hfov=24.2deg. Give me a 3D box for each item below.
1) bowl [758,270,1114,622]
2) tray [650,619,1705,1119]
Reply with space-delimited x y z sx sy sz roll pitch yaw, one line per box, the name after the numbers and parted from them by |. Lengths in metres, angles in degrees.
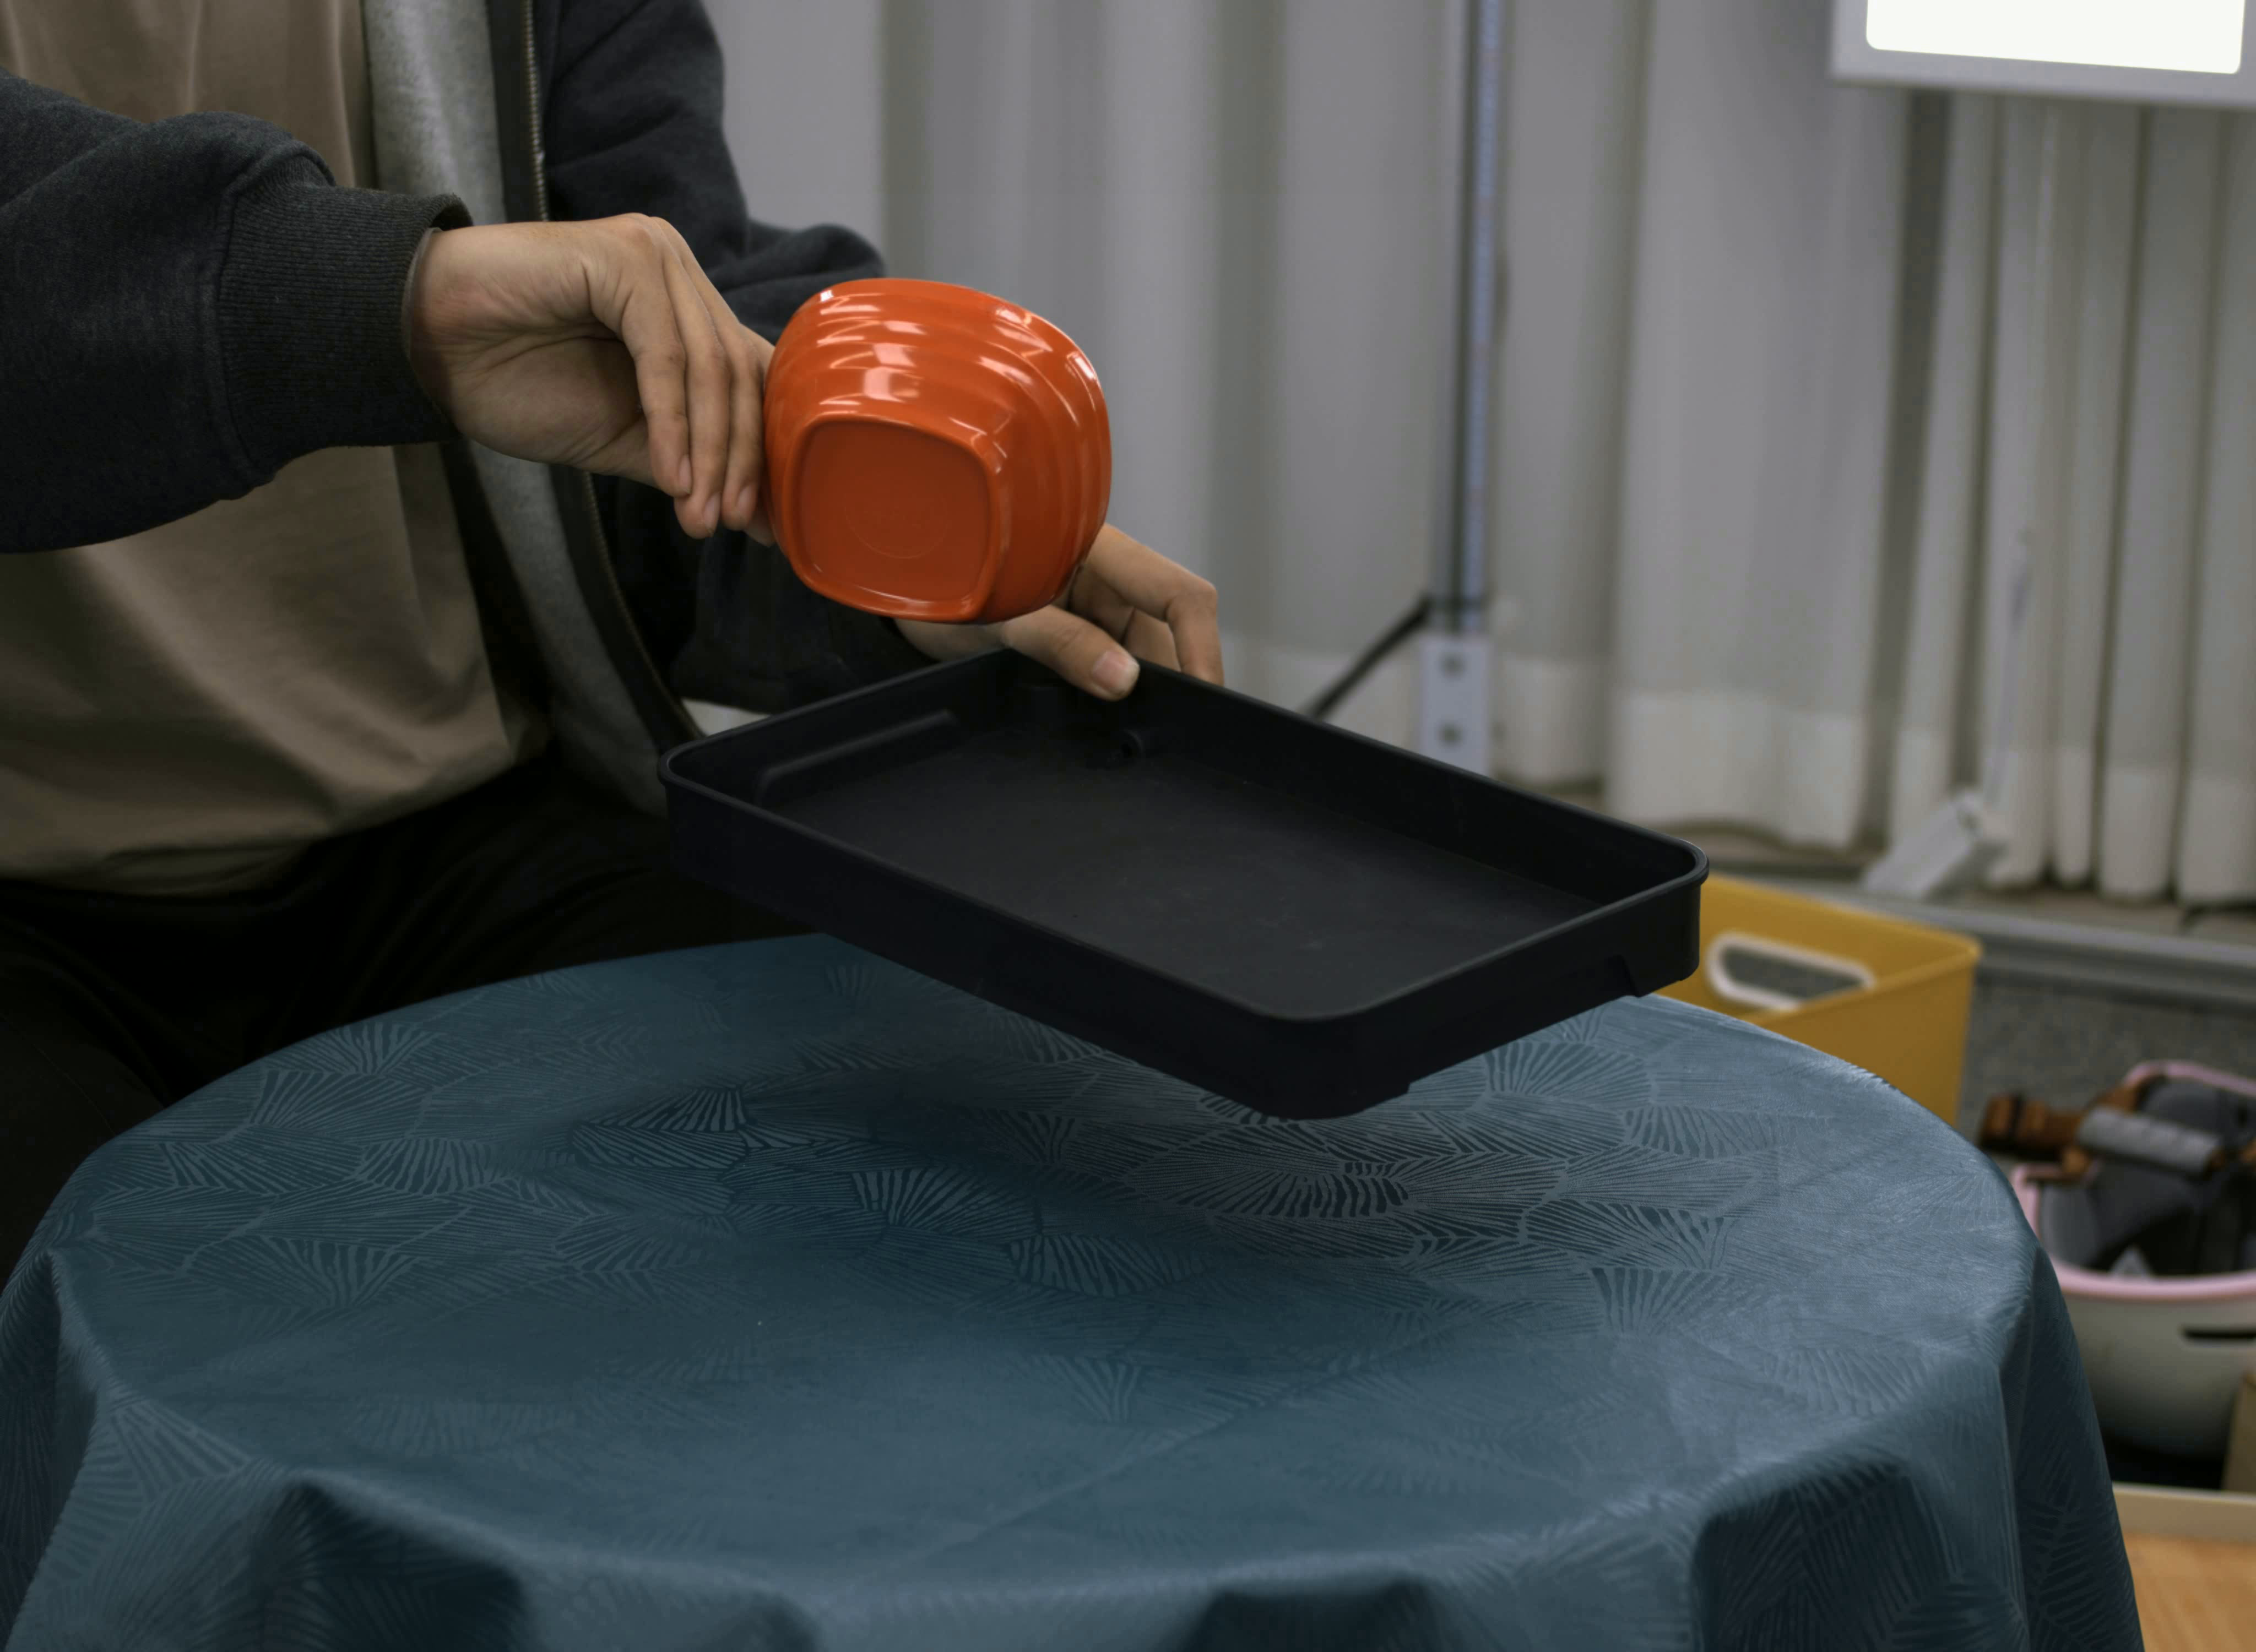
-0.063 -0.104 1.563 0.118 0.120 0.051 5 33 14 | bowl
0.011 0.007 1.650 0.185 0.037 0.313 -19 29 -39 | tray
